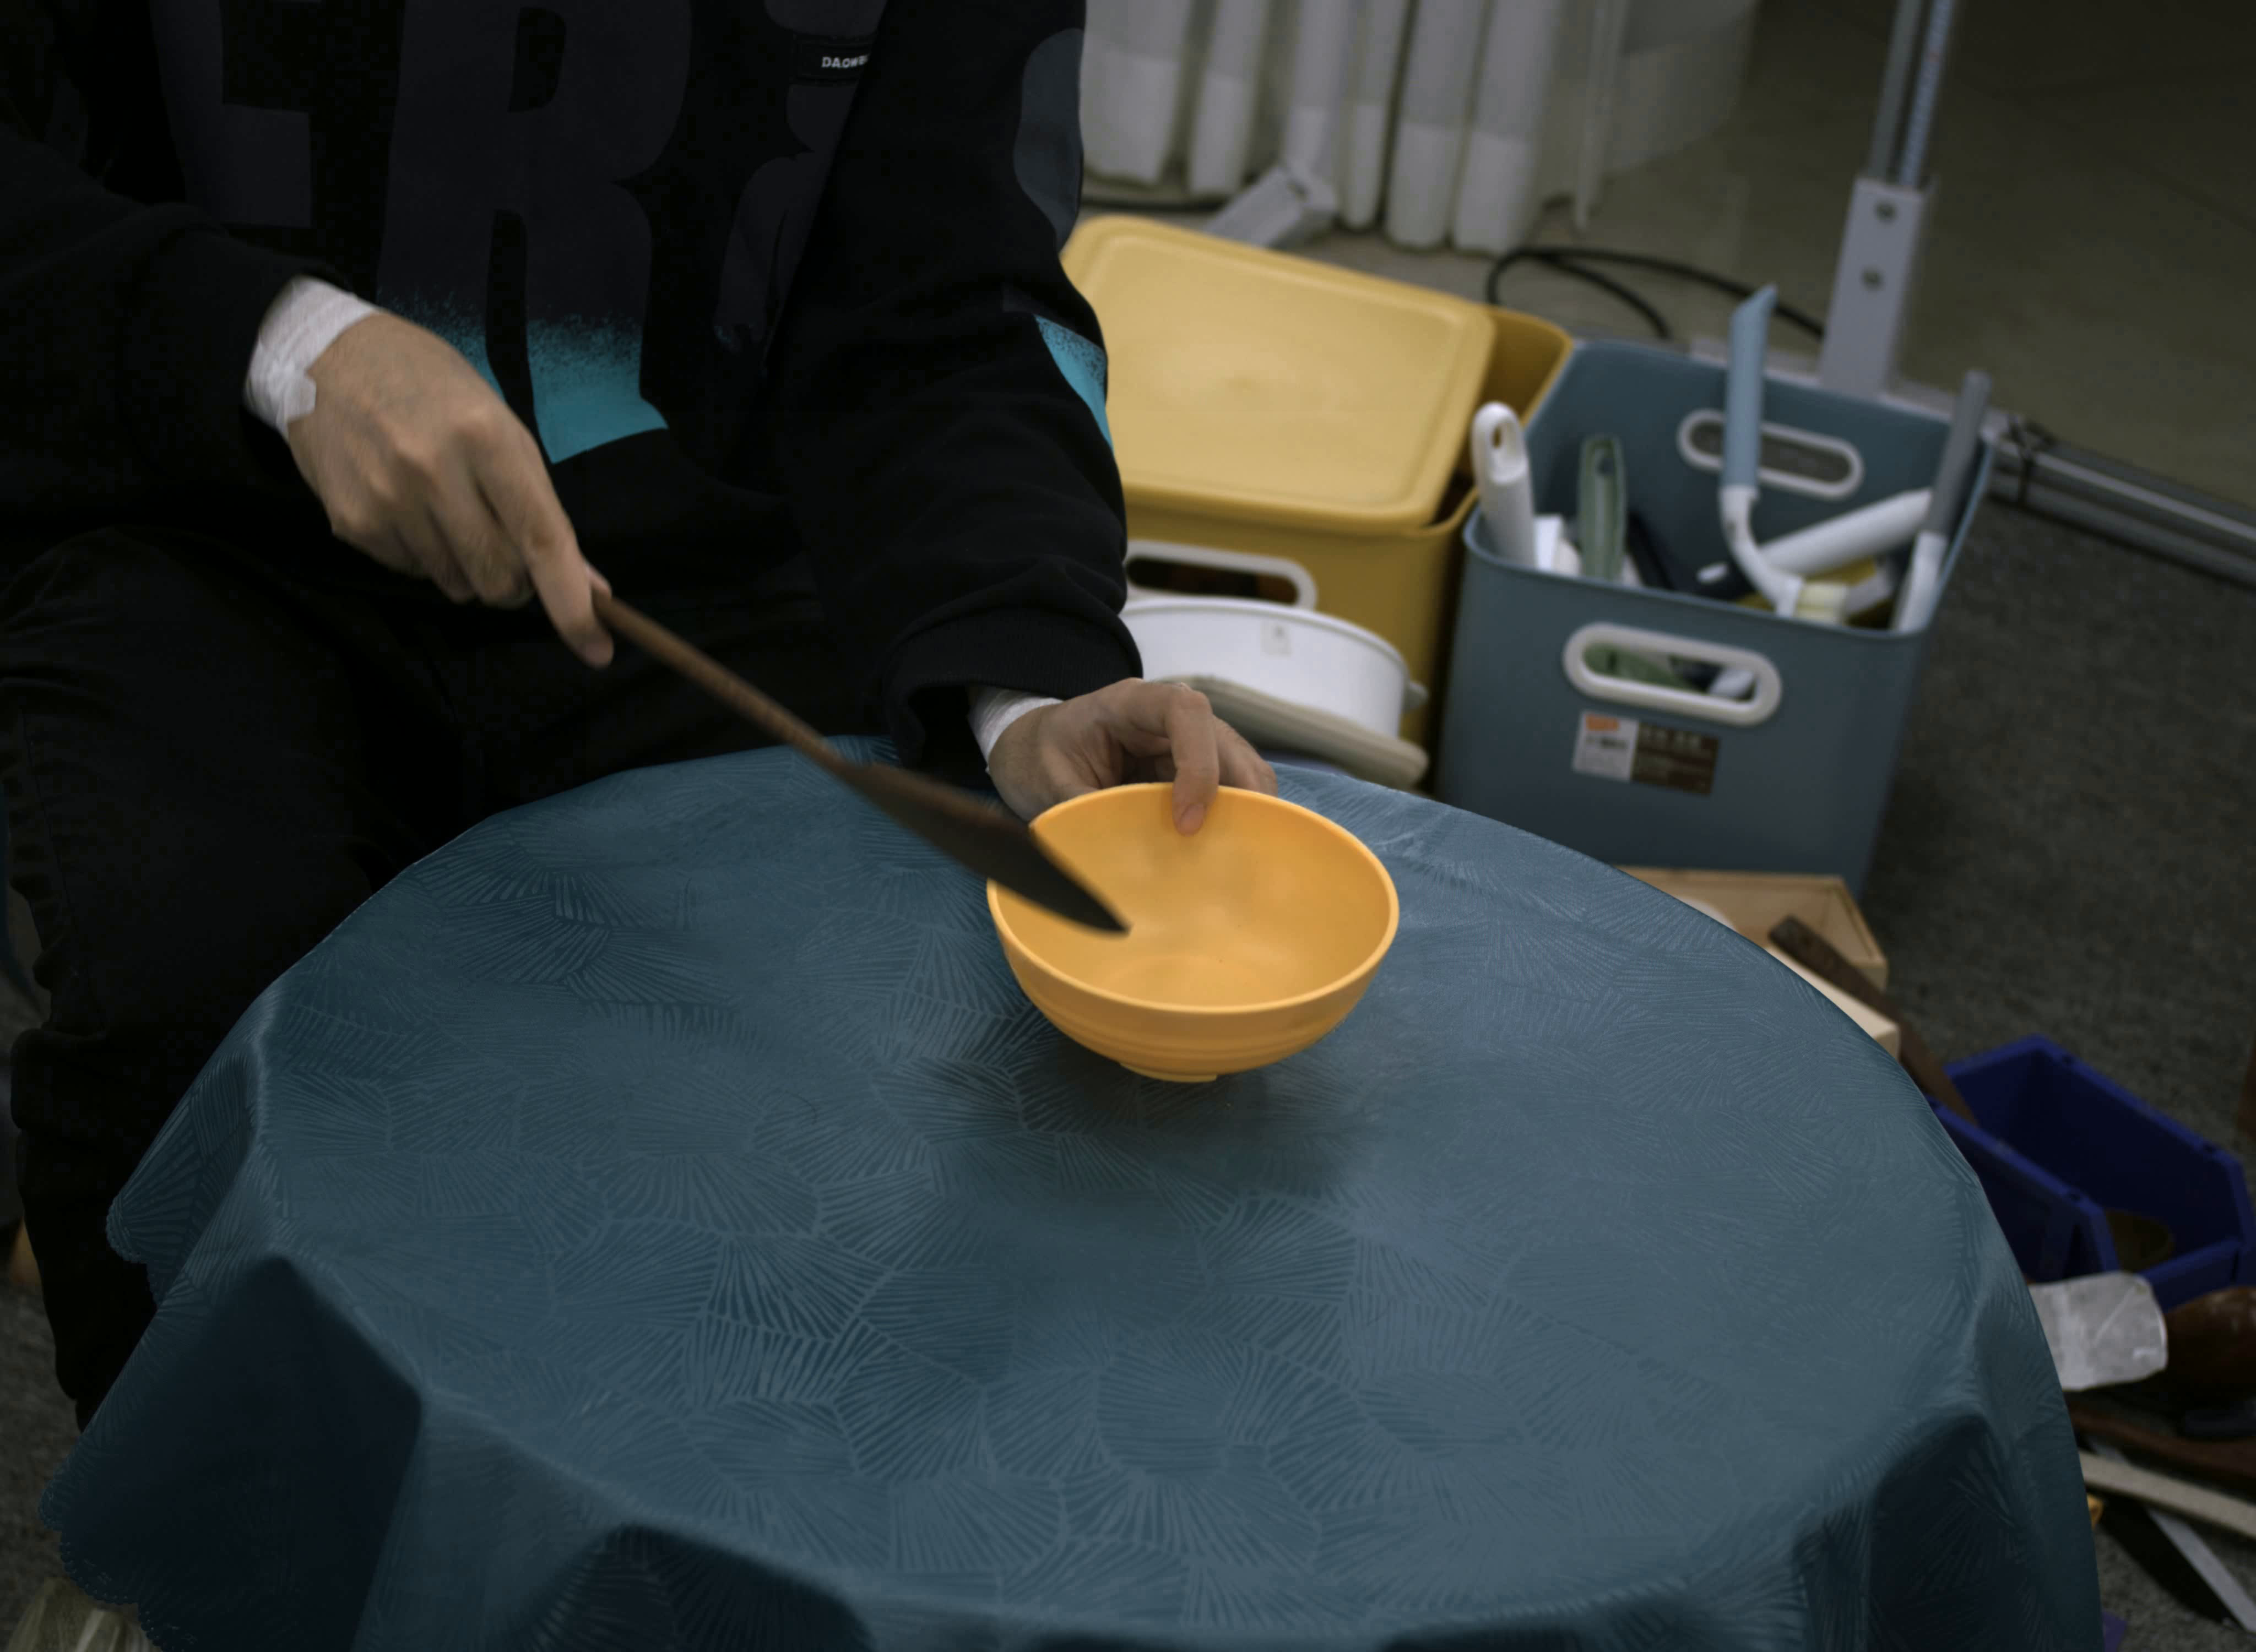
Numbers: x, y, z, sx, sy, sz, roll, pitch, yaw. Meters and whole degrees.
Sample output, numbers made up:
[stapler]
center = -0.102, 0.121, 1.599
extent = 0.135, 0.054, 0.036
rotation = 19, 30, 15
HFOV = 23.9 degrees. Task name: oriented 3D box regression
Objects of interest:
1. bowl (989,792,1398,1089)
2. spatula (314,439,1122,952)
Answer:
[bowl]
center = 0.019, 0.050, 1.871
extent = 0.145, 0.060, 0.146
rotation = 6, 31, -4
[spatula]
center = -0.151, -0.053, 1.819
extent = 0.389, 0.016, 0.095
rotation = 32, -8, 33
